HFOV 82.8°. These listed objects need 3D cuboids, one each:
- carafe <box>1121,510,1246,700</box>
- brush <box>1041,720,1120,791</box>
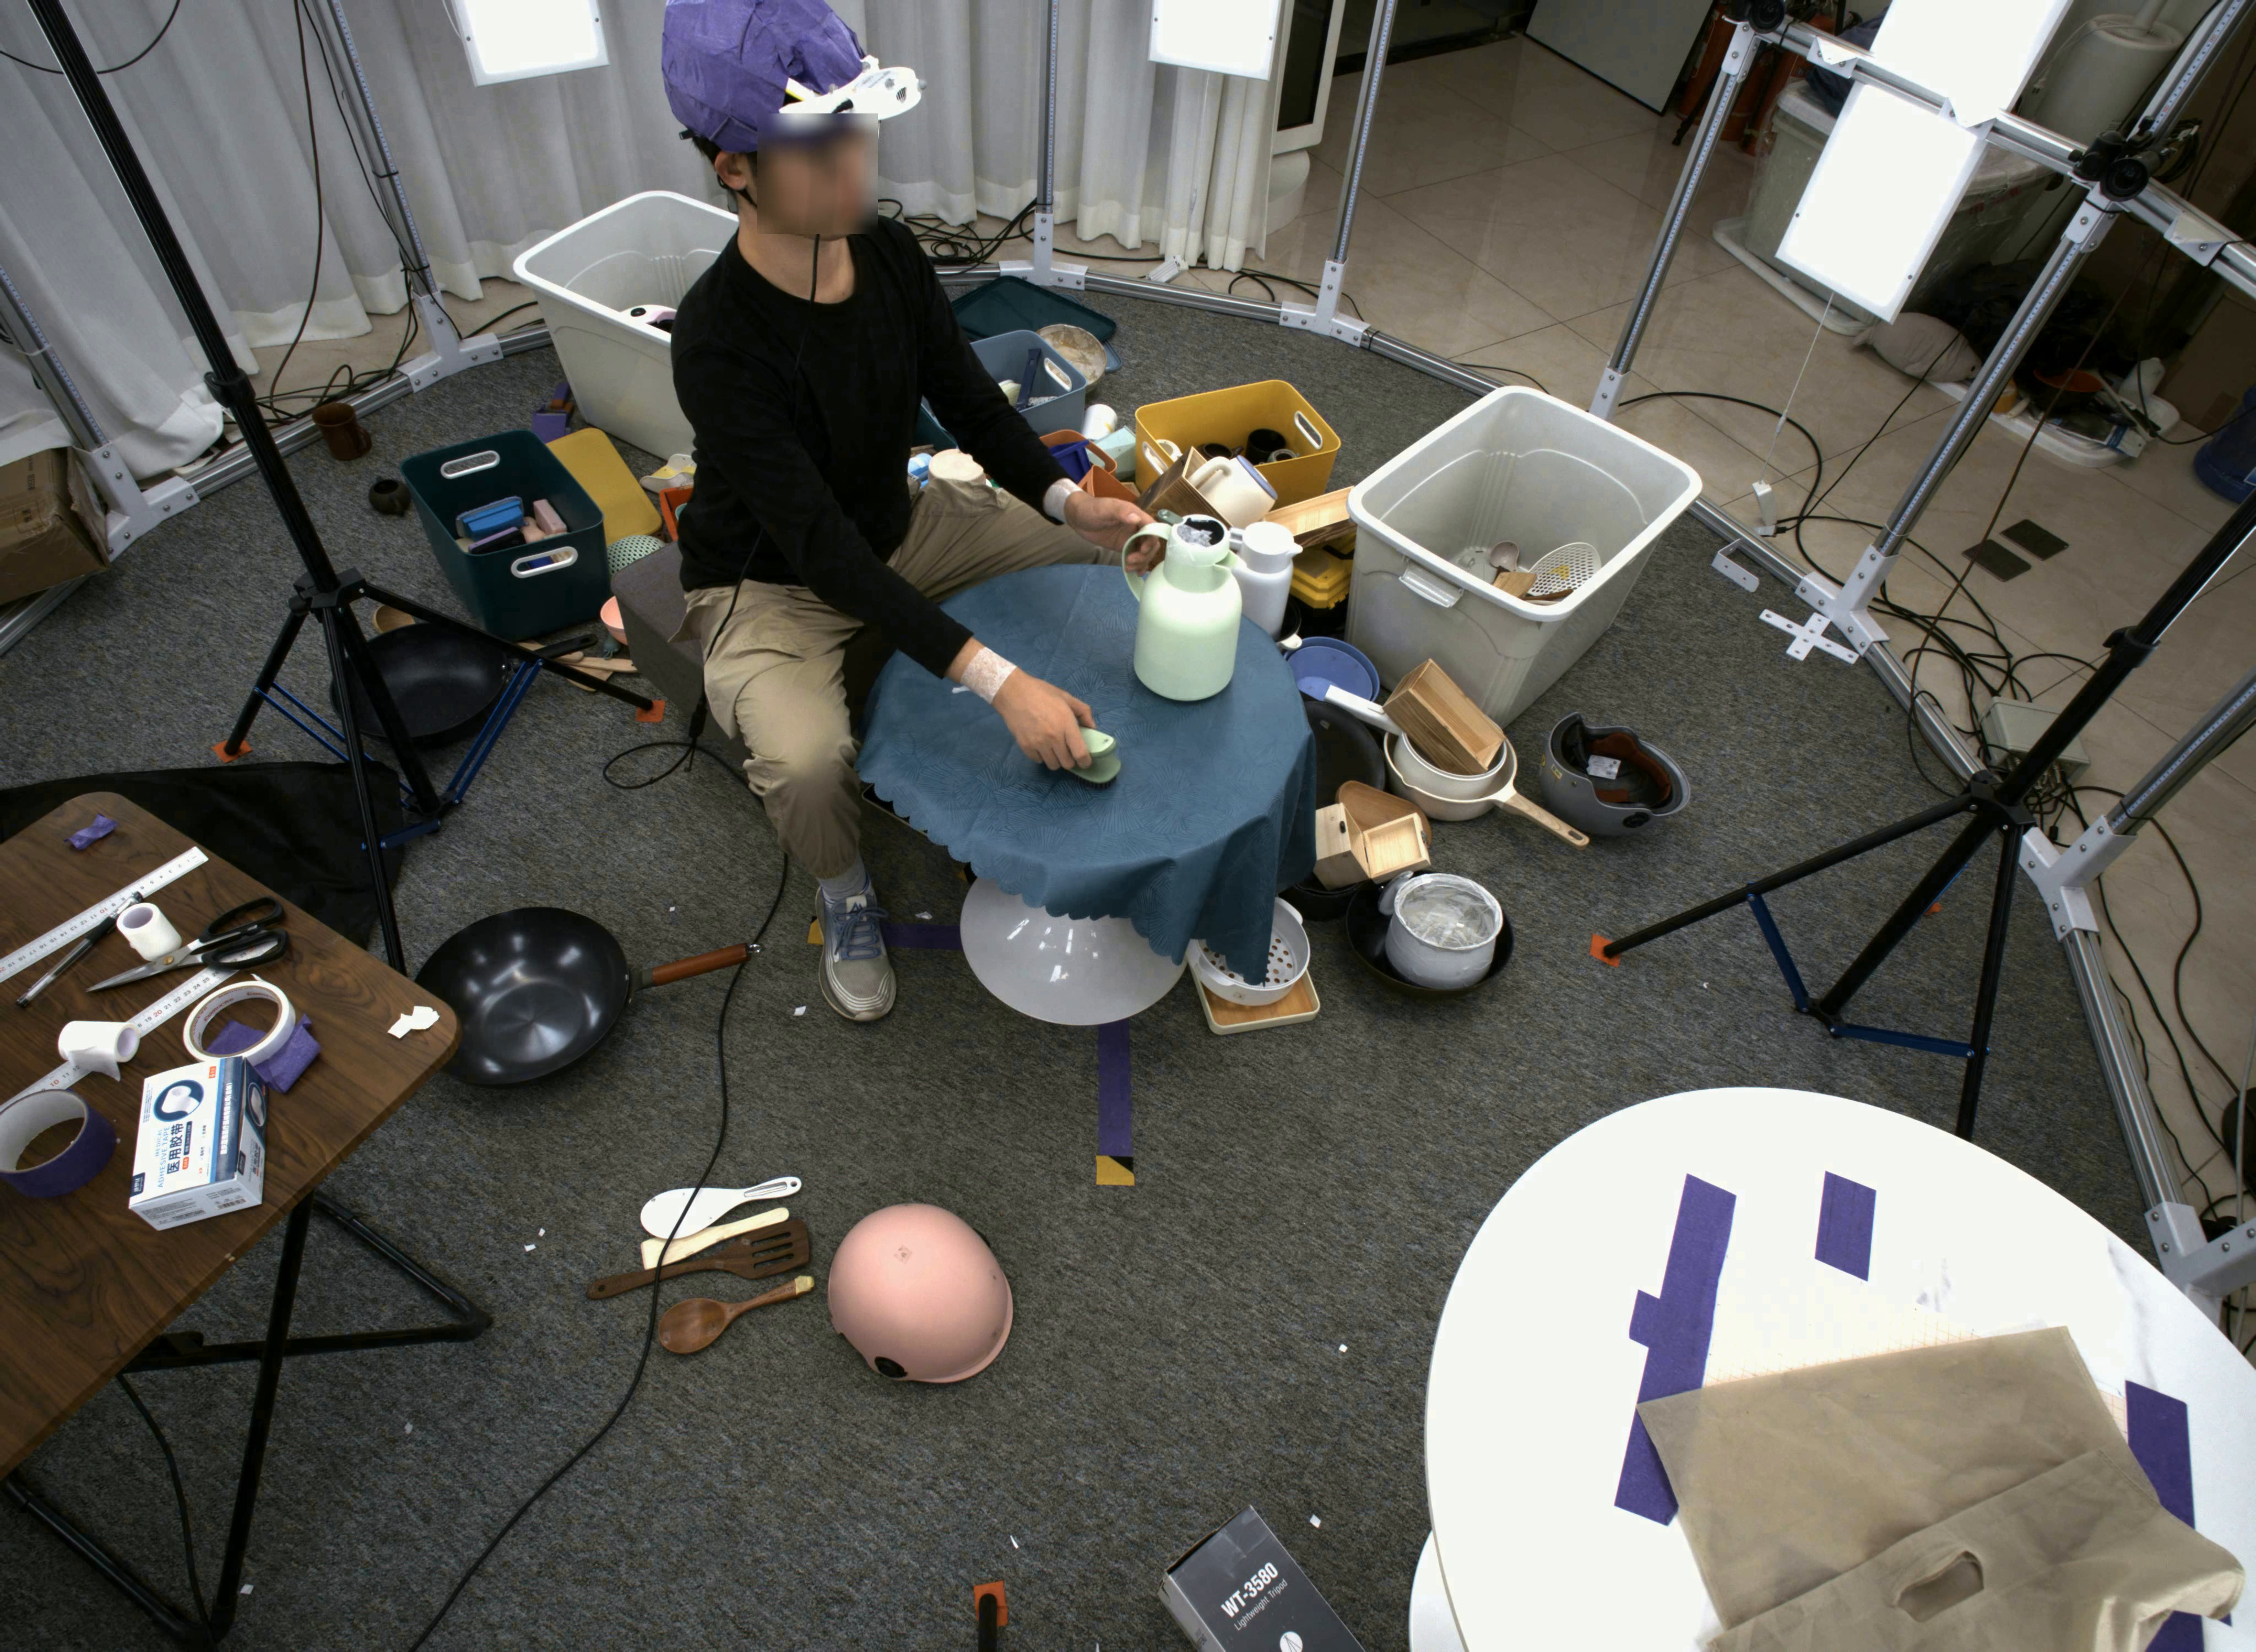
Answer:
[{"bbox_3d":[0.073,-0.313,1.780,0.189,0.250,0.146,29,52,22],"label":"carafe"},{"bbox_3d":[-0.063,-0.097,1.721,0.124,0.074,0.060,22,53,38],"label":"brush"}]
